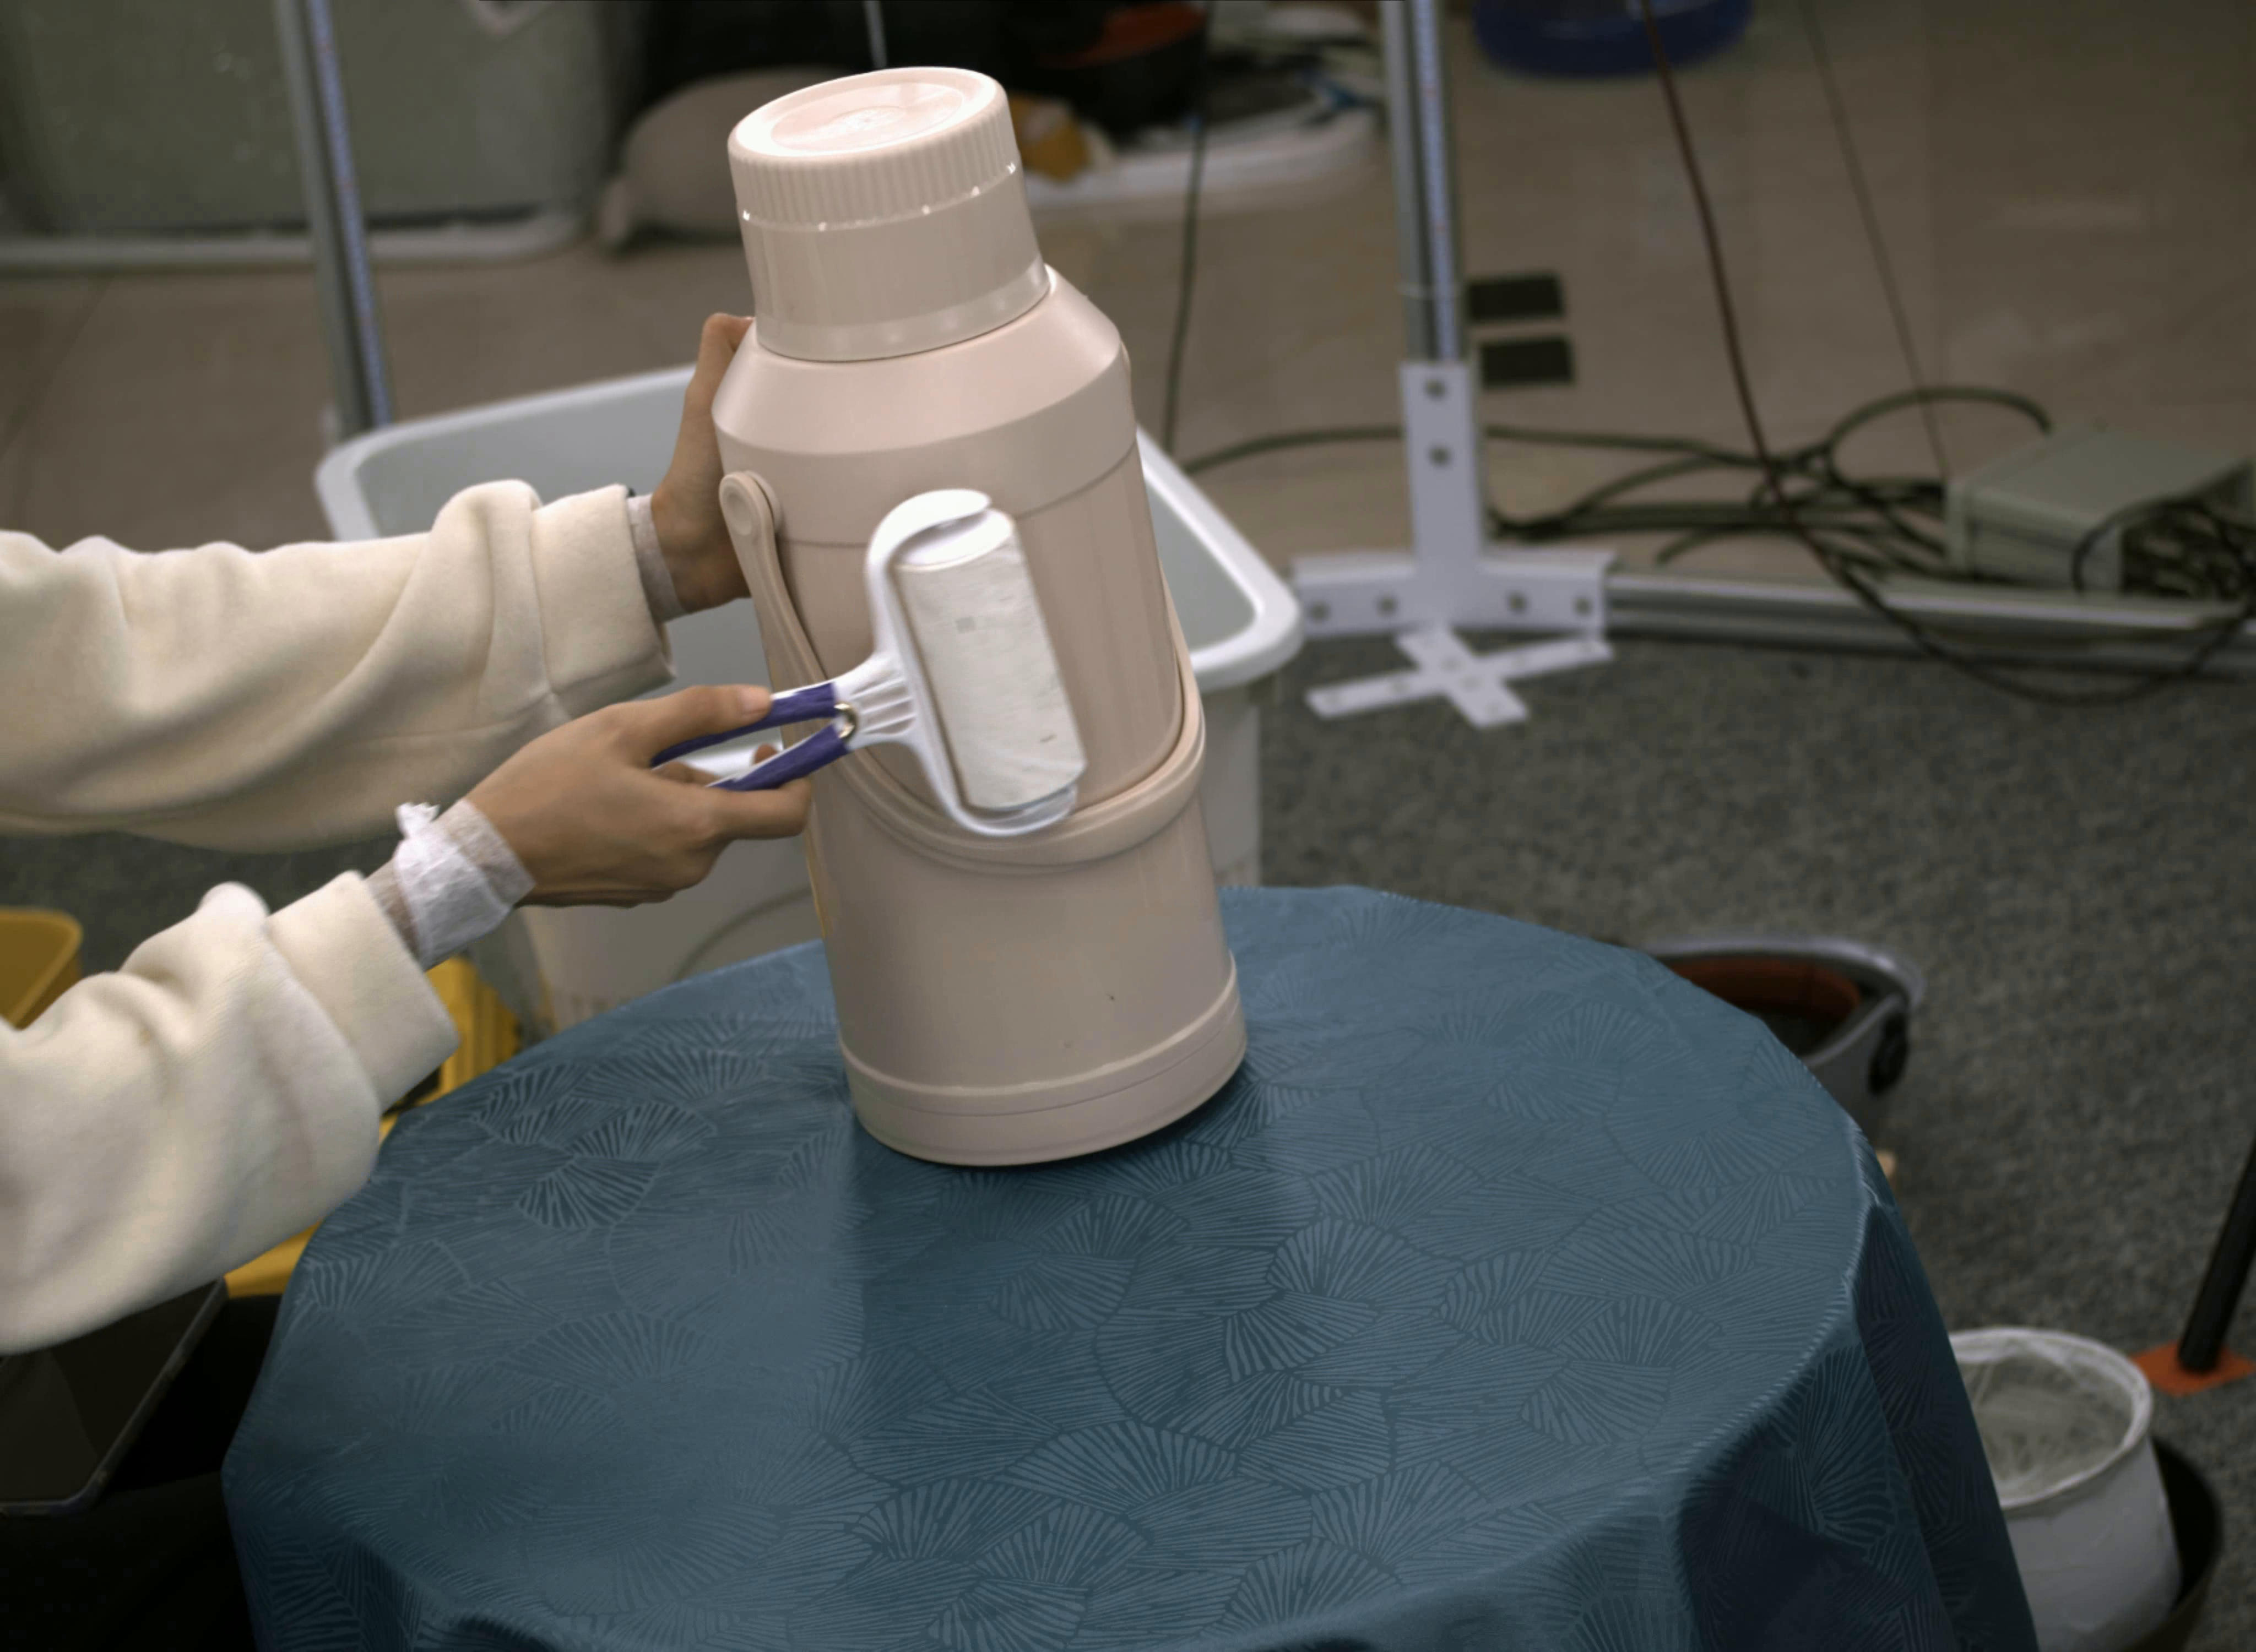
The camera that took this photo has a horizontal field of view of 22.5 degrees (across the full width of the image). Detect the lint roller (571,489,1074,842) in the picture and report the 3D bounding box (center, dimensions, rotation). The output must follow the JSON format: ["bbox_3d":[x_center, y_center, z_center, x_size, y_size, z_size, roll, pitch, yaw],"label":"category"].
[{"bbox_3d":[-0.113,-0.035,2.033,0.180,0.135,0.049,-23,27,-17],"label":"lint roller"}]

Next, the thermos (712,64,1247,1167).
[{"bbox_3d":[-0.070,-0.085,2.160,0.174,0.413,0.205,-27,30,-30],"label":"thermos"}]
